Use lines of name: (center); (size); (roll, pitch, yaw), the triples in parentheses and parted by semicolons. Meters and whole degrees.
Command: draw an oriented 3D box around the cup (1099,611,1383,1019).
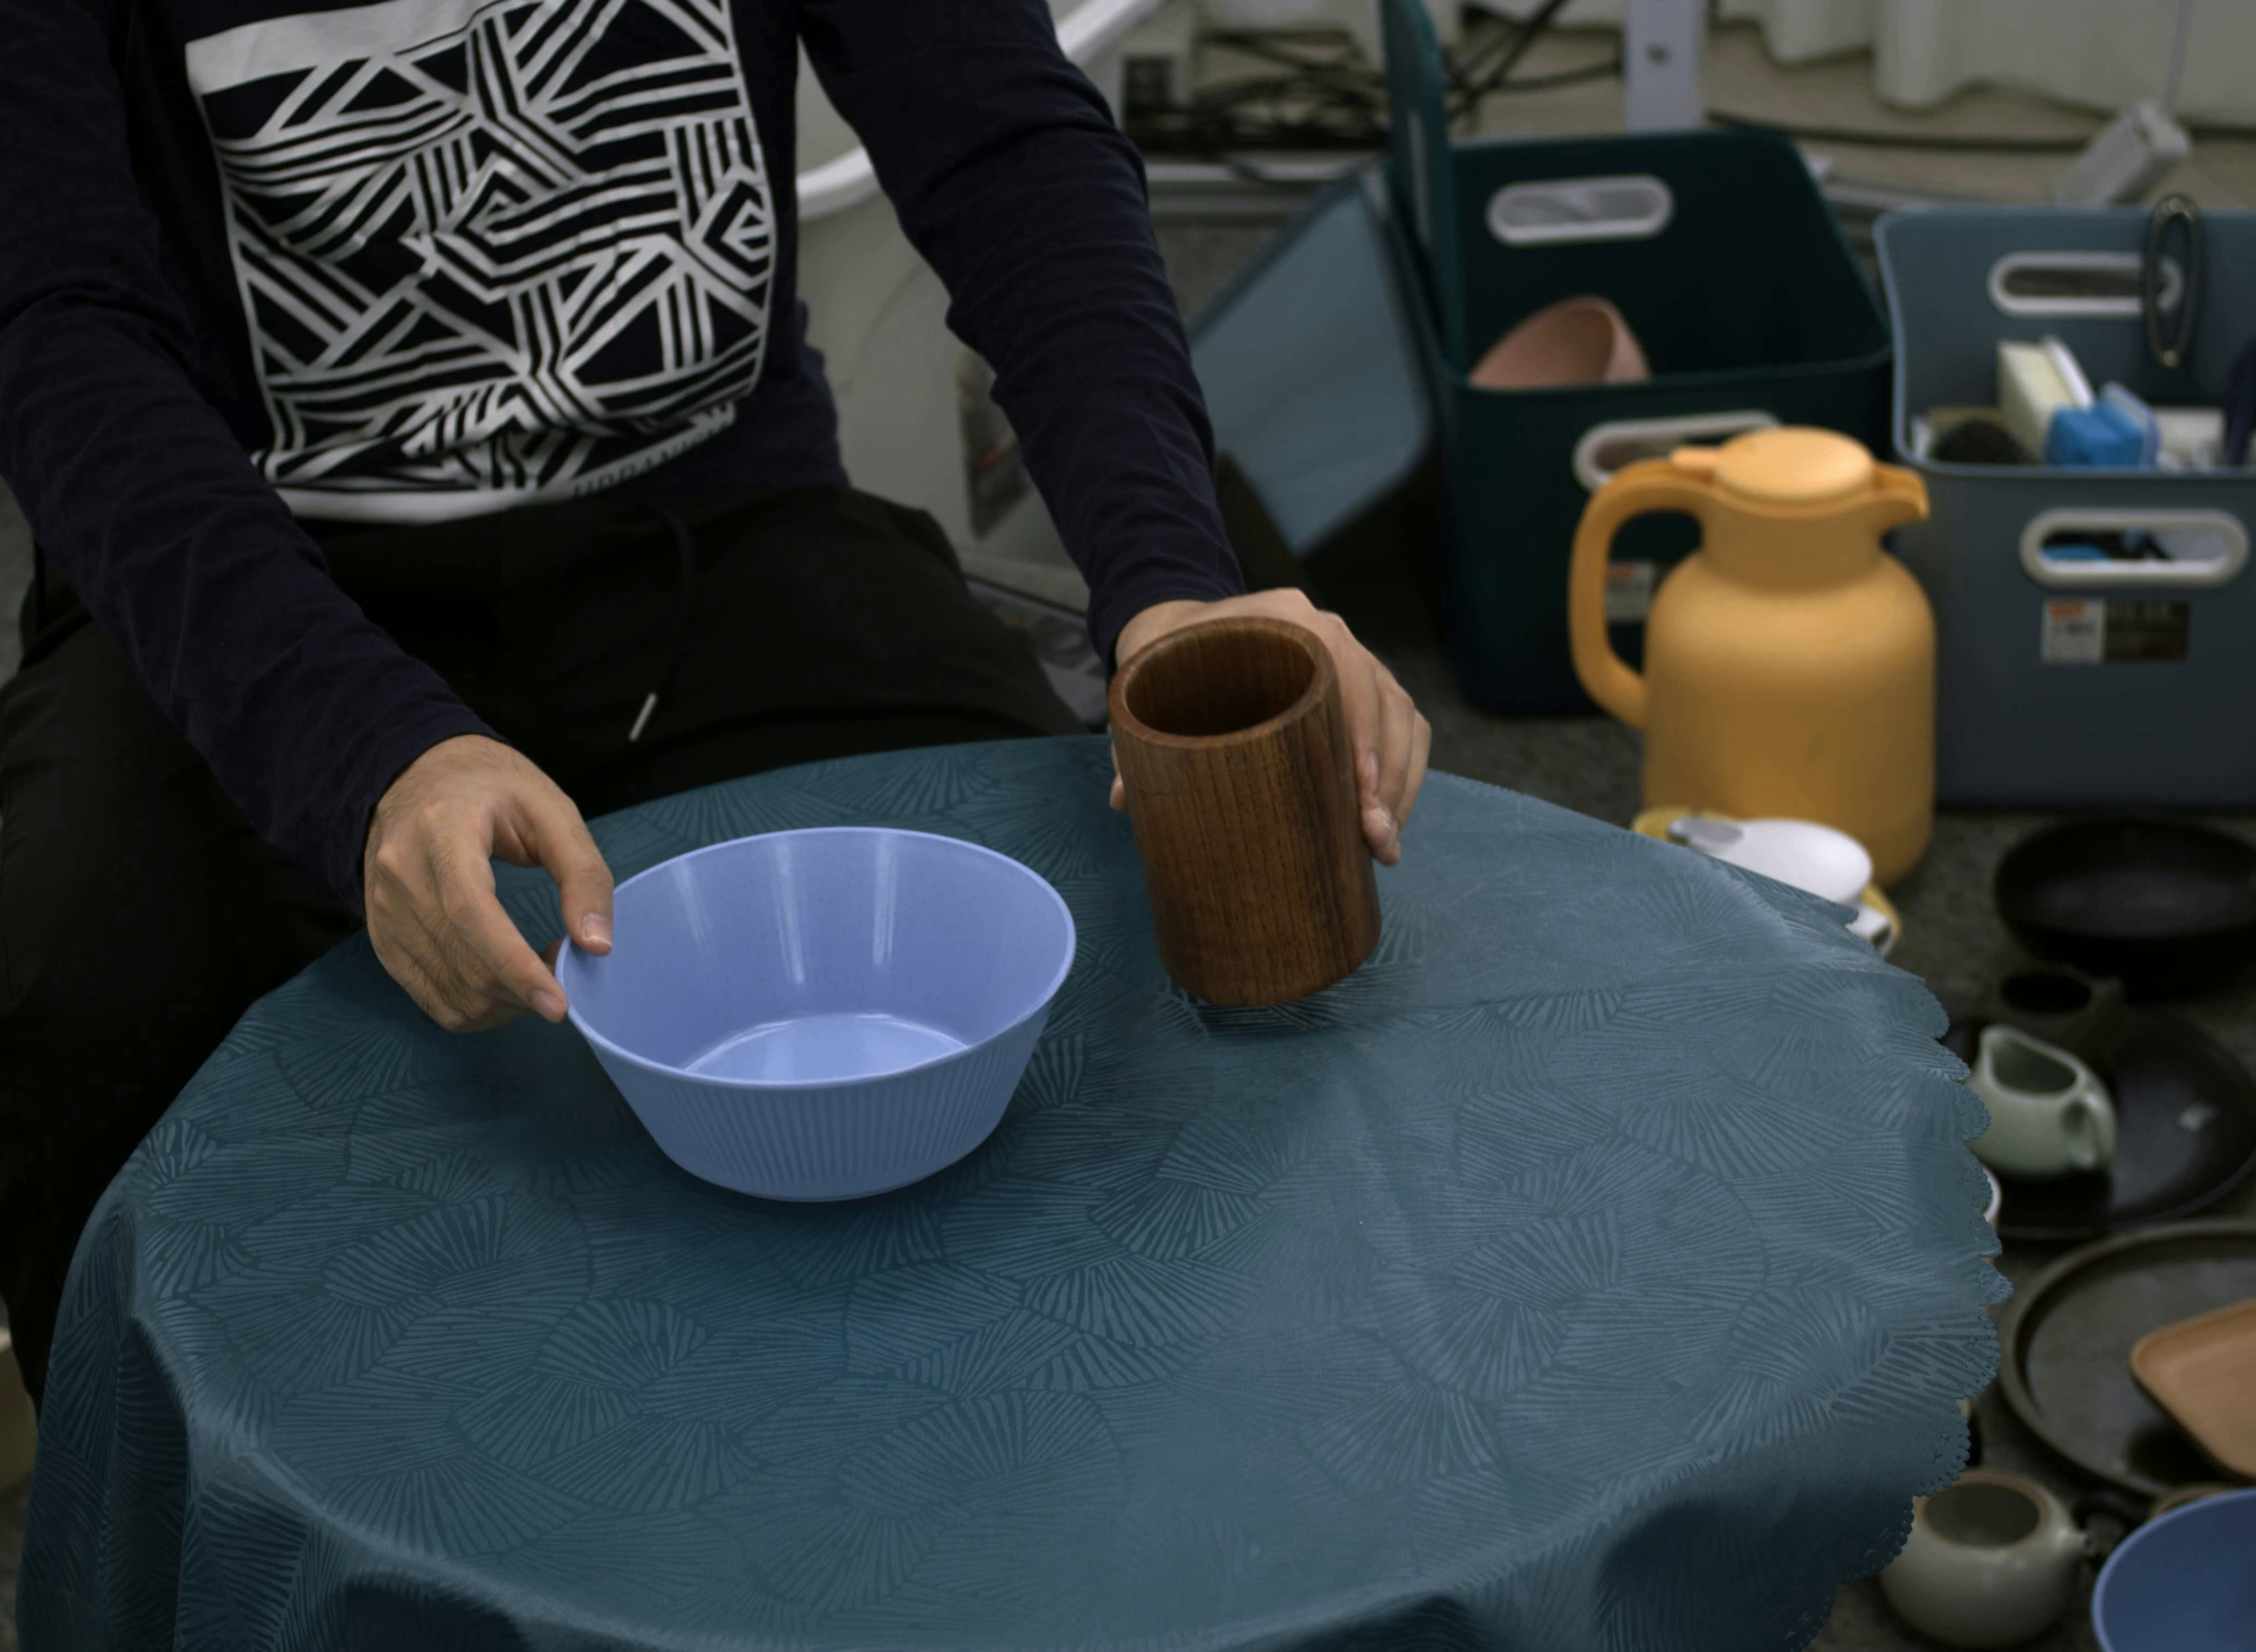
cup: (0.040, -0.003, 1.935); (0.087, 0.117, 0.089); (-7, 31, 5)

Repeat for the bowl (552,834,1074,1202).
bowl: (-0.104, 0.070, 1.893); (0.175, 0.069, 0.179); (-2, 26, 1)
